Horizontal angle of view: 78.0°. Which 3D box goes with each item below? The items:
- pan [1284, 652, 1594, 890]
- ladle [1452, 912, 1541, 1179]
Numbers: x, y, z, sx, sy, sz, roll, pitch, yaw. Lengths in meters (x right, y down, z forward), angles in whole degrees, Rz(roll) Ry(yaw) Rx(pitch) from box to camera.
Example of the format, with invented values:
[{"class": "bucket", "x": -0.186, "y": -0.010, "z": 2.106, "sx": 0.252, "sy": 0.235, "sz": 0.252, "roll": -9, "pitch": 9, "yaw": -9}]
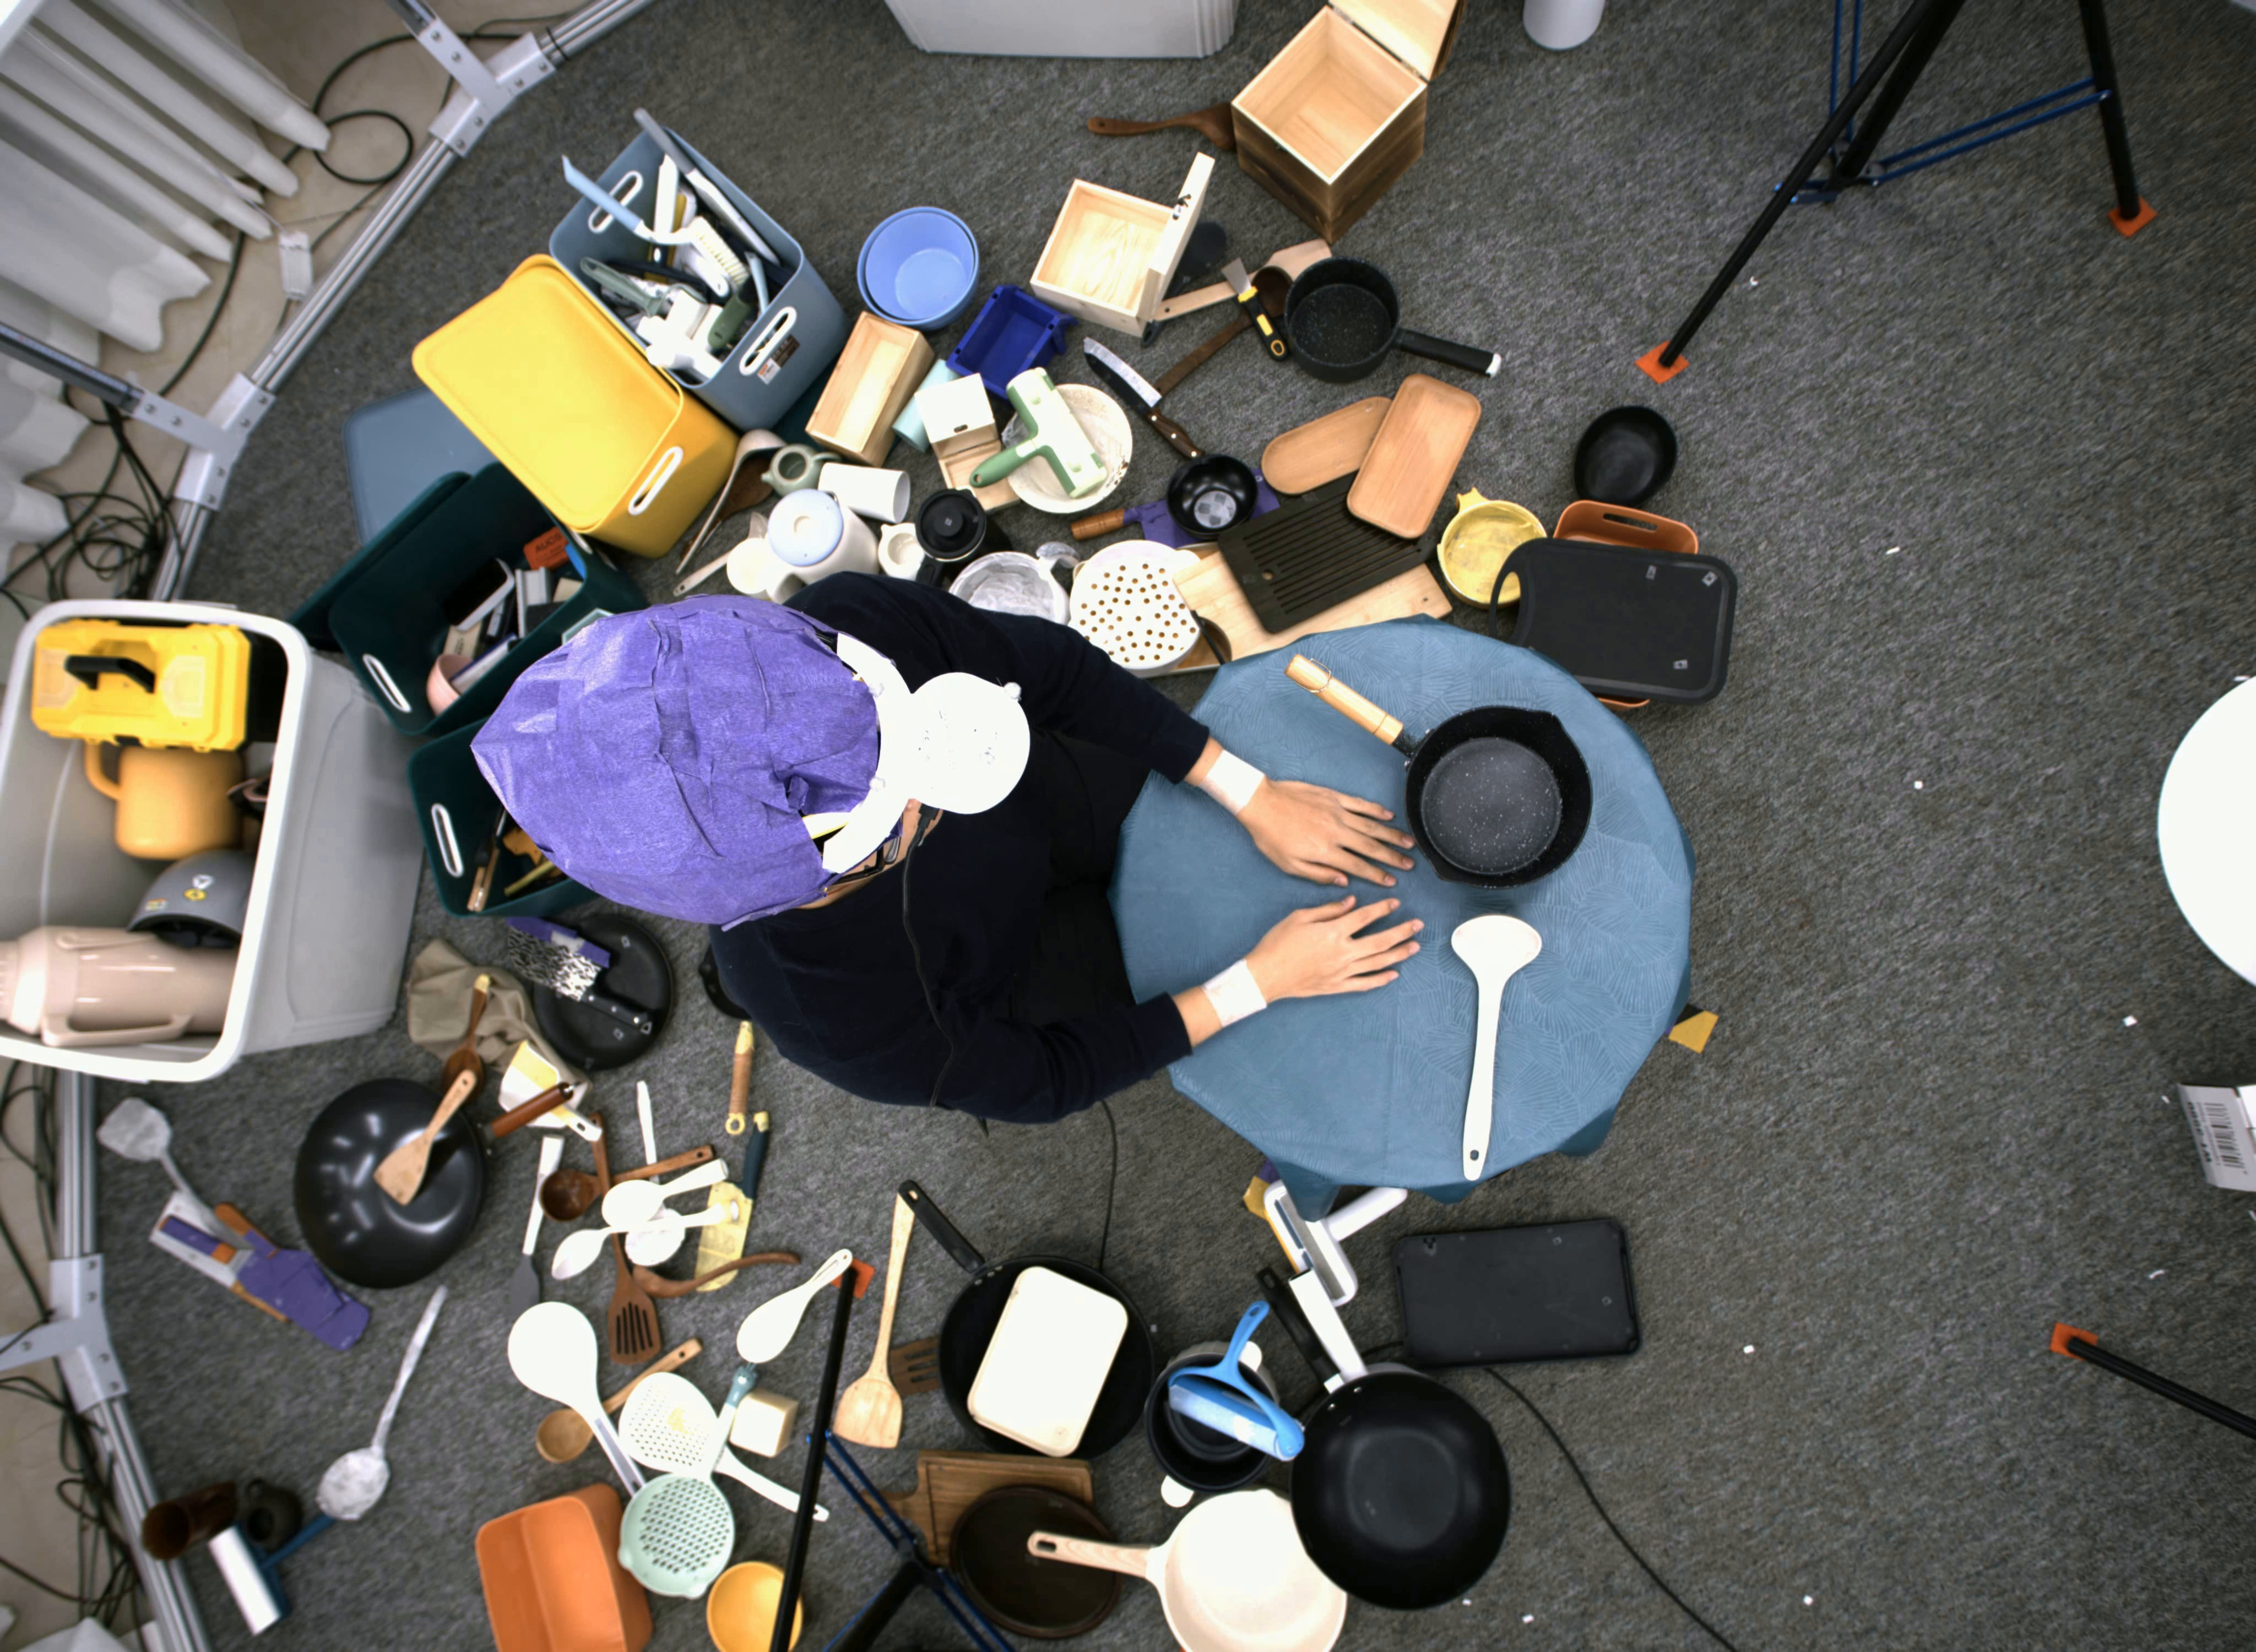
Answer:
[{"class": "pan", "x": 0.307, "y": -0.070, "z": 1.406, "sx": 0.342, "sy": 0.108, "sz": 0.208, "roll": 33, "pitch": 93, "yaw": 9}, {"class": "ladle", "x": 0.364, "y": 0.222, "z": 1.399, "sx": 0.089, "sy": 0.069, "sz": 0.274, "roll": 6, "pitch": 87, "yaw": 5}]
